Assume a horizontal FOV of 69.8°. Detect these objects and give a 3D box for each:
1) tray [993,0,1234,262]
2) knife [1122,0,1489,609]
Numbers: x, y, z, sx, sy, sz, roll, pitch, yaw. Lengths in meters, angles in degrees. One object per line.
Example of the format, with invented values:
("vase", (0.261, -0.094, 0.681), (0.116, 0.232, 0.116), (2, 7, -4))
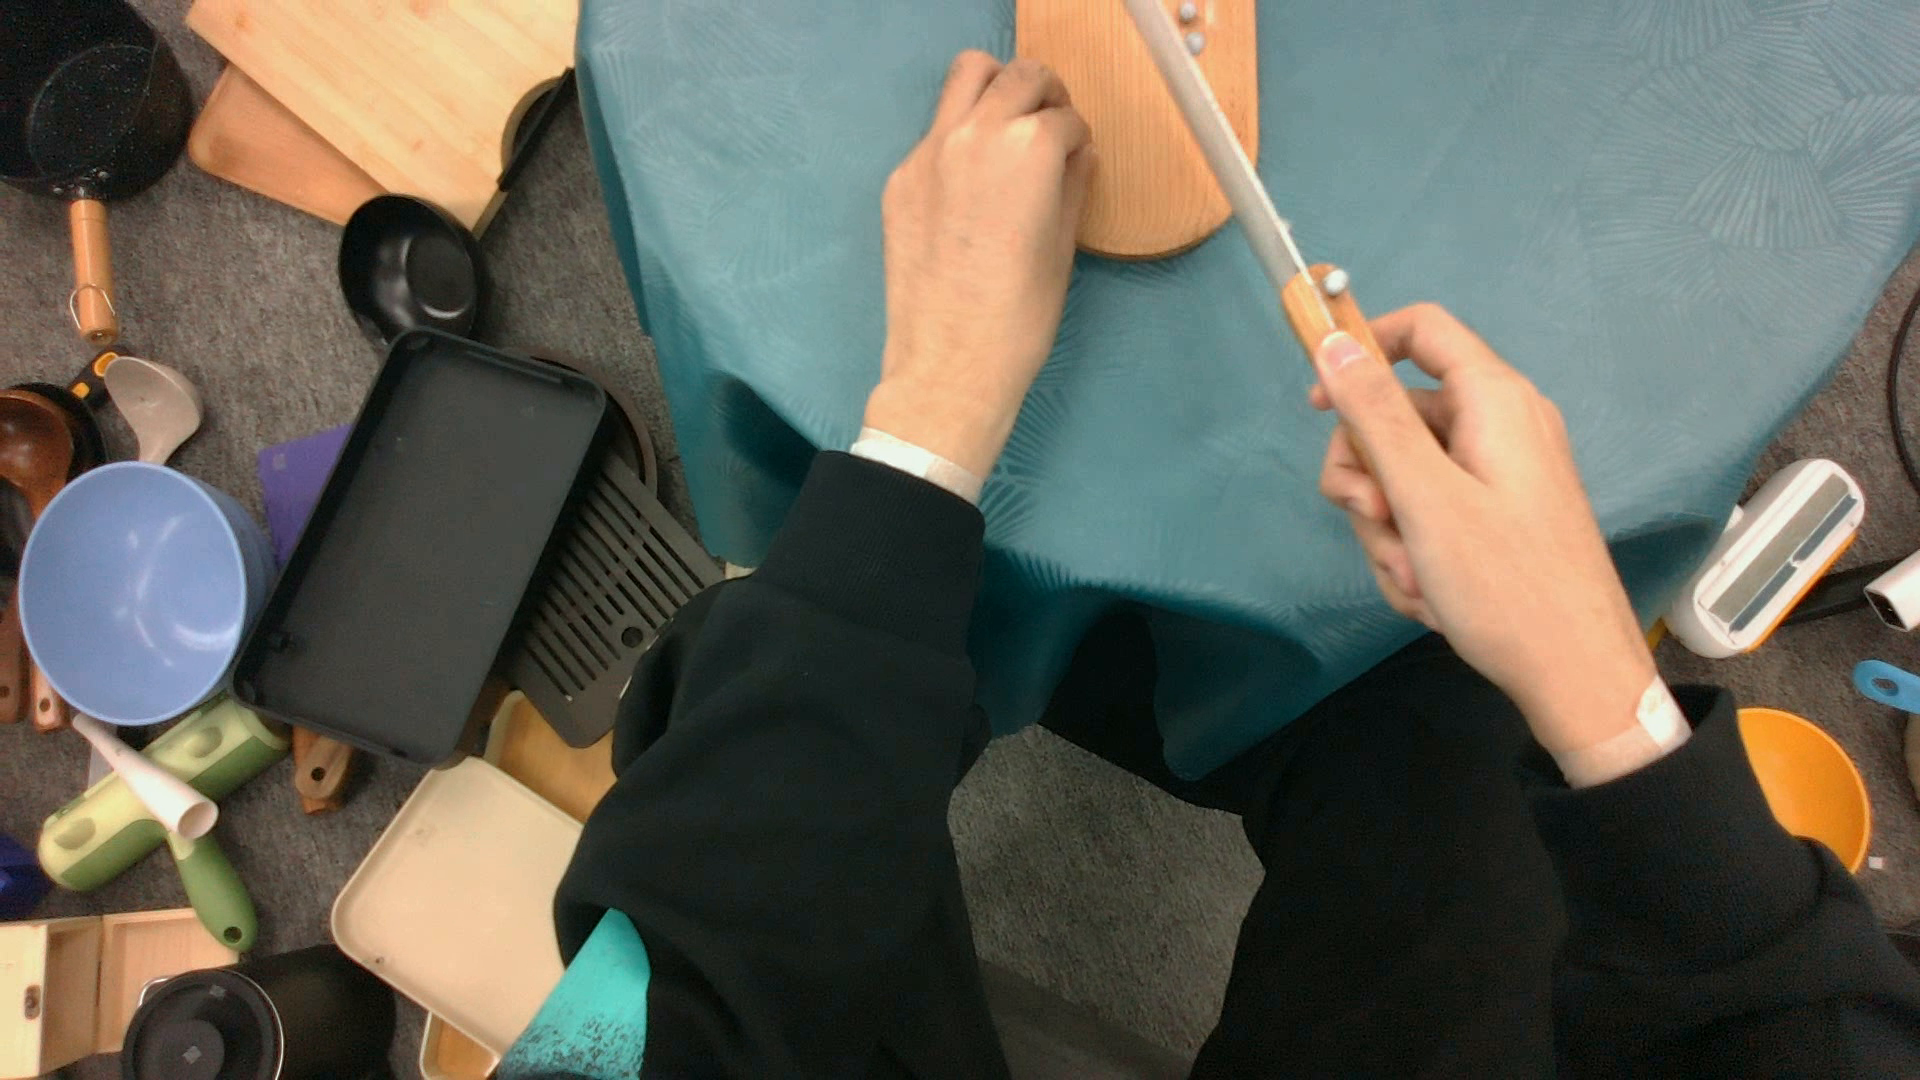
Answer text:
("tray", (0.066, -0.229, 0.594), (0.101, 0.020, 0.231), (1, 80, 3))
("knife", (0.107, -0.113, 0.496), (0.021, 0.093, 0.306), (-25, 78, 9))
